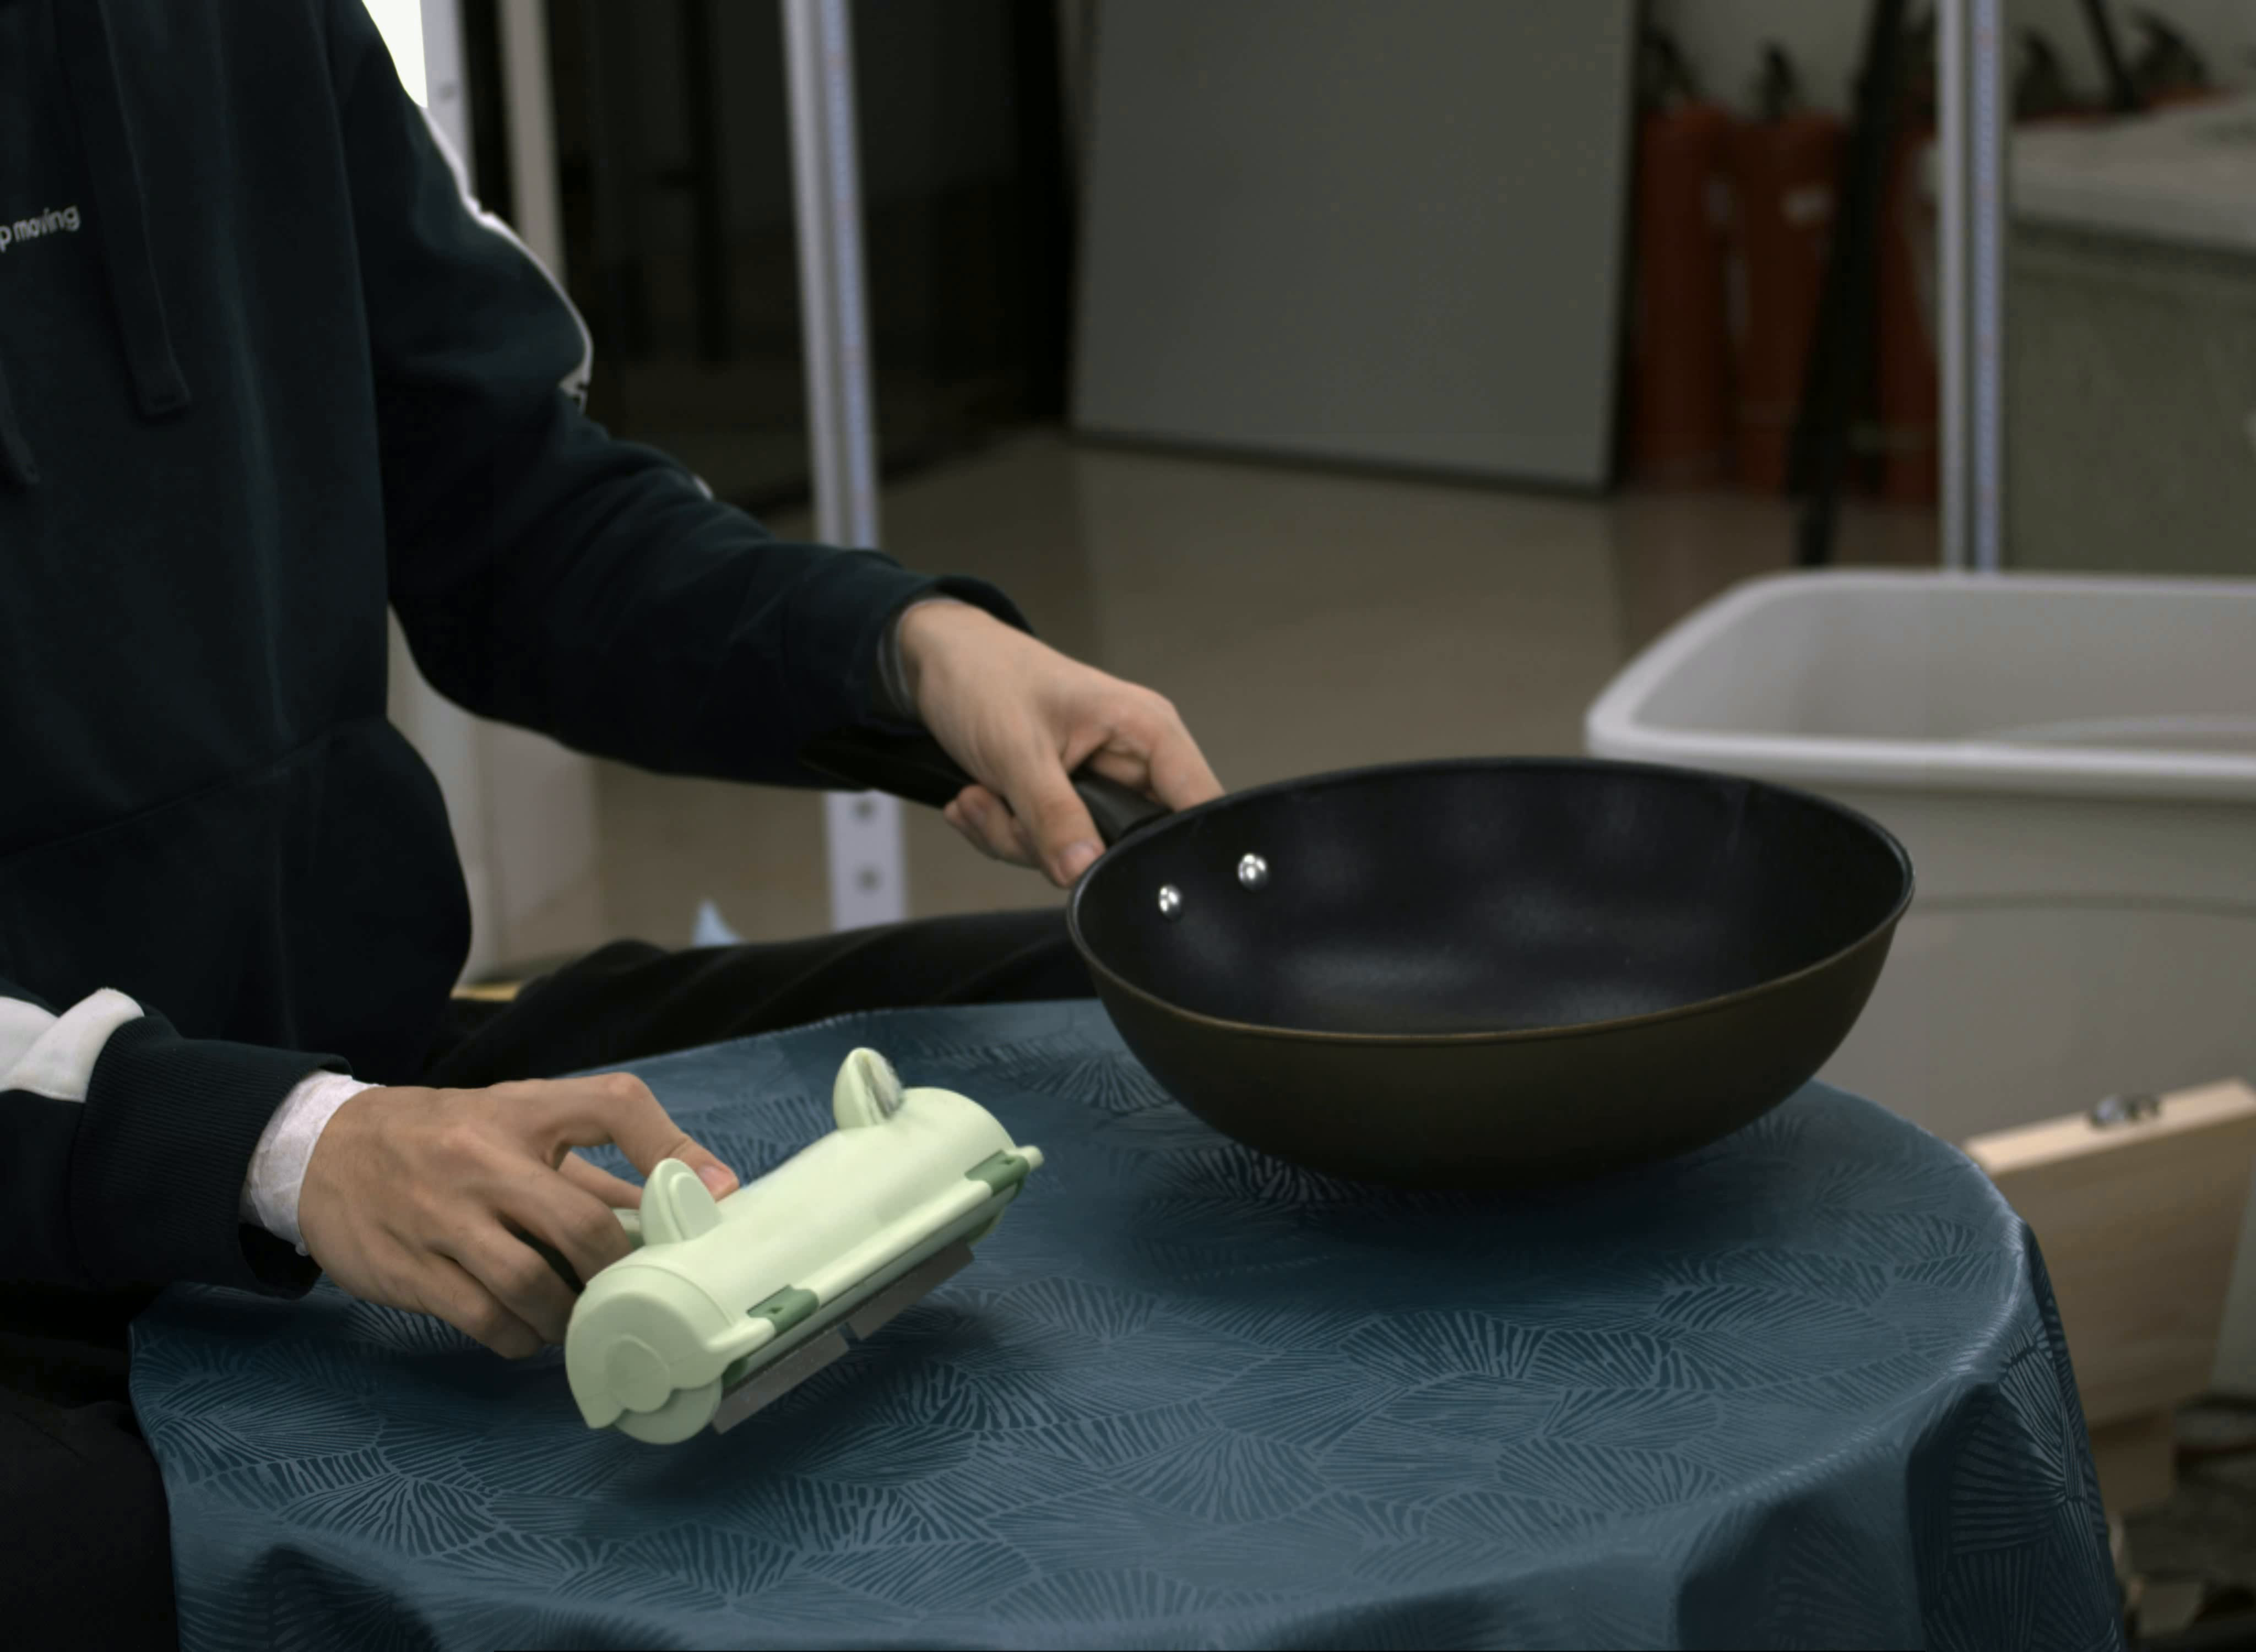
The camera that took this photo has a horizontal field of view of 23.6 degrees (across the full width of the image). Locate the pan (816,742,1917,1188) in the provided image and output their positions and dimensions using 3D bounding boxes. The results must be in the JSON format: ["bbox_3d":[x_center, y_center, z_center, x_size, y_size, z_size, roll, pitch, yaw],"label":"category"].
[{"bbox_3d":[0.054,0.041,1.828,0.467,0.088,0.282,11,22,43],"label":"pan"}]

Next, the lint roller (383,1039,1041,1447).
[{"bbox_3d":[-0.146,0.114,1.613,0.184,0.083,0.196,7,17,26],"label":"lint roller"}]
